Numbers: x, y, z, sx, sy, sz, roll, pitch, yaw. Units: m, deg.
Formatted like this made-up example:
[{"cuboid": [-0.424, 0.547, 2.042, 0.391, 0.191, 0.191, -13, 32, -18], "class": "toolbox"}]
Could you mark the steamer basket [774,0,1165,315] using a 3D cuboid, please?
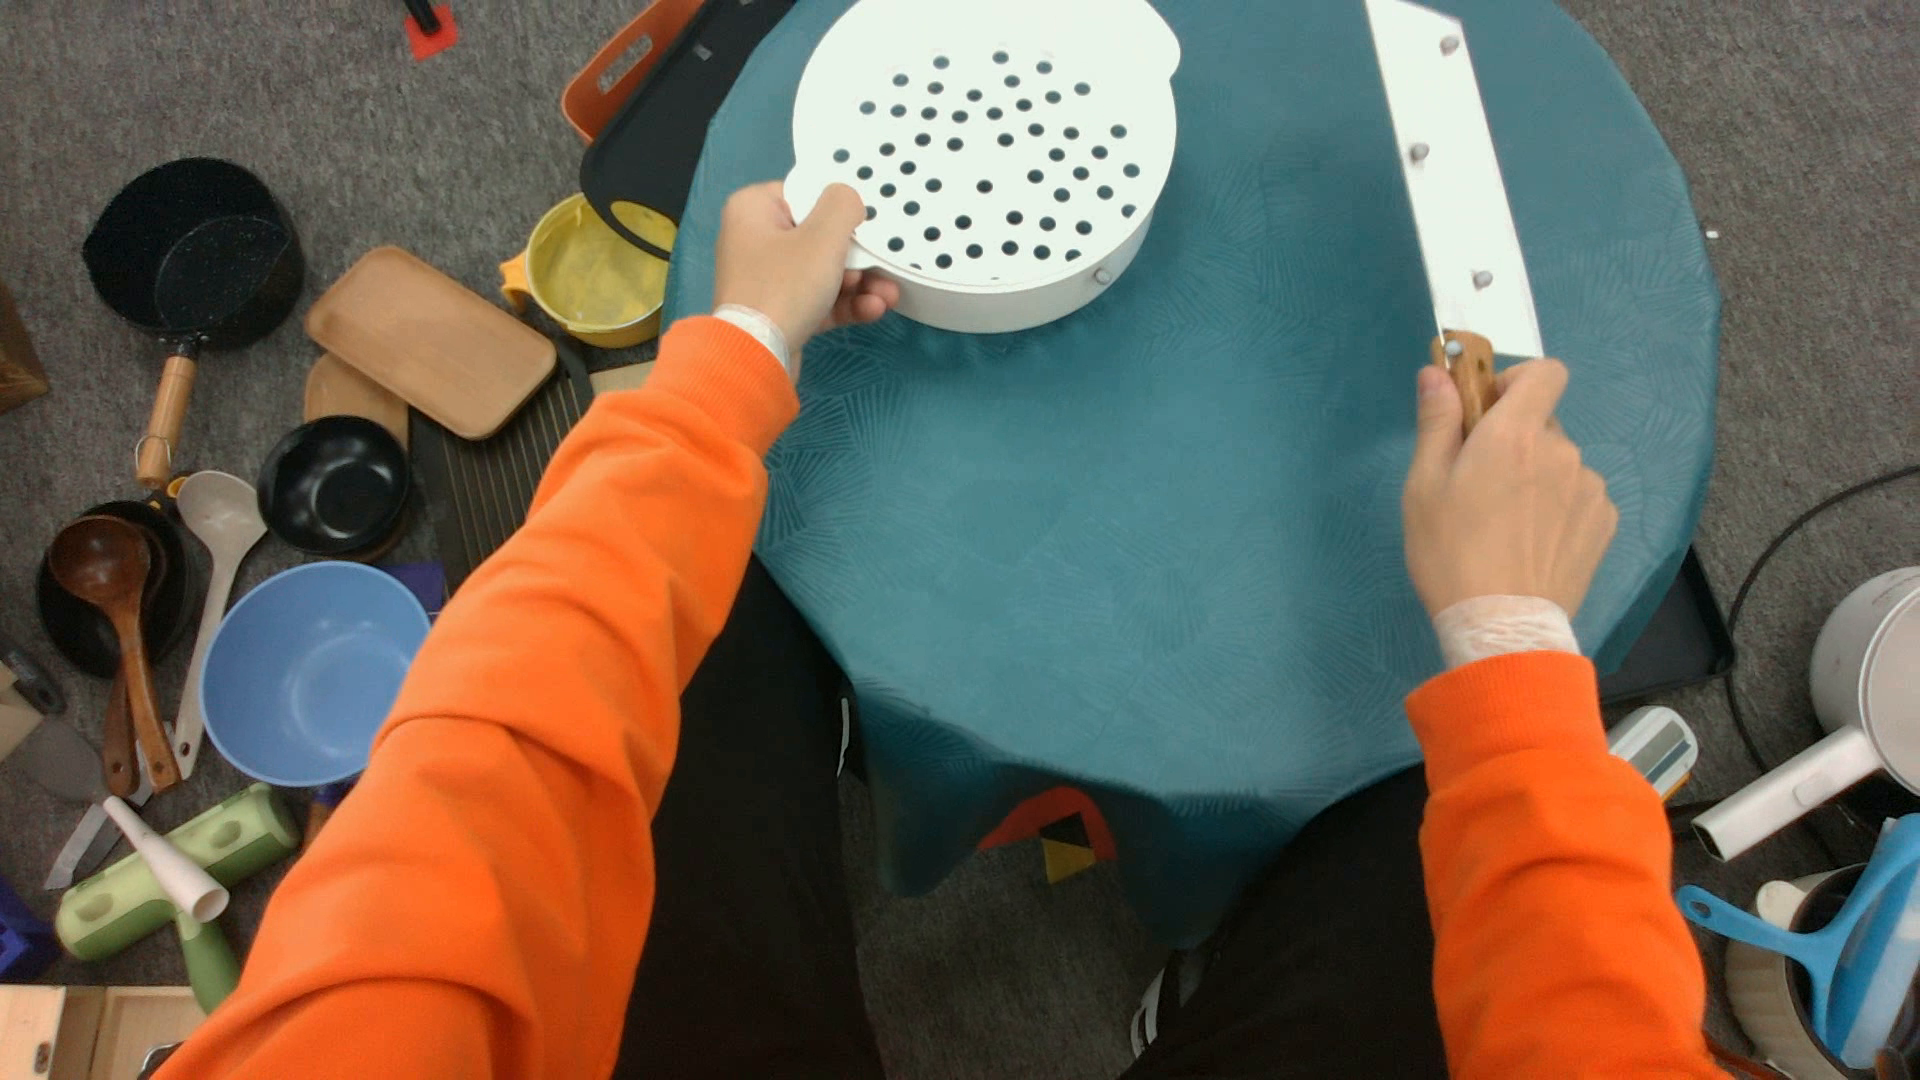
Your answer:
[{"cuboid": [0.007, -0.221, 0.757, 0.231, 0.069, 0.202, -34, 75, -13], "class": "steamer basket"}]

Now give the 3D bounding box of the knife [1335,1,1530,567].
[{"cuboid": [0.254, -0.137, 0.709, 0.093, 0.021, 0.306, -2, 76, -38], "class": "knife"}]
